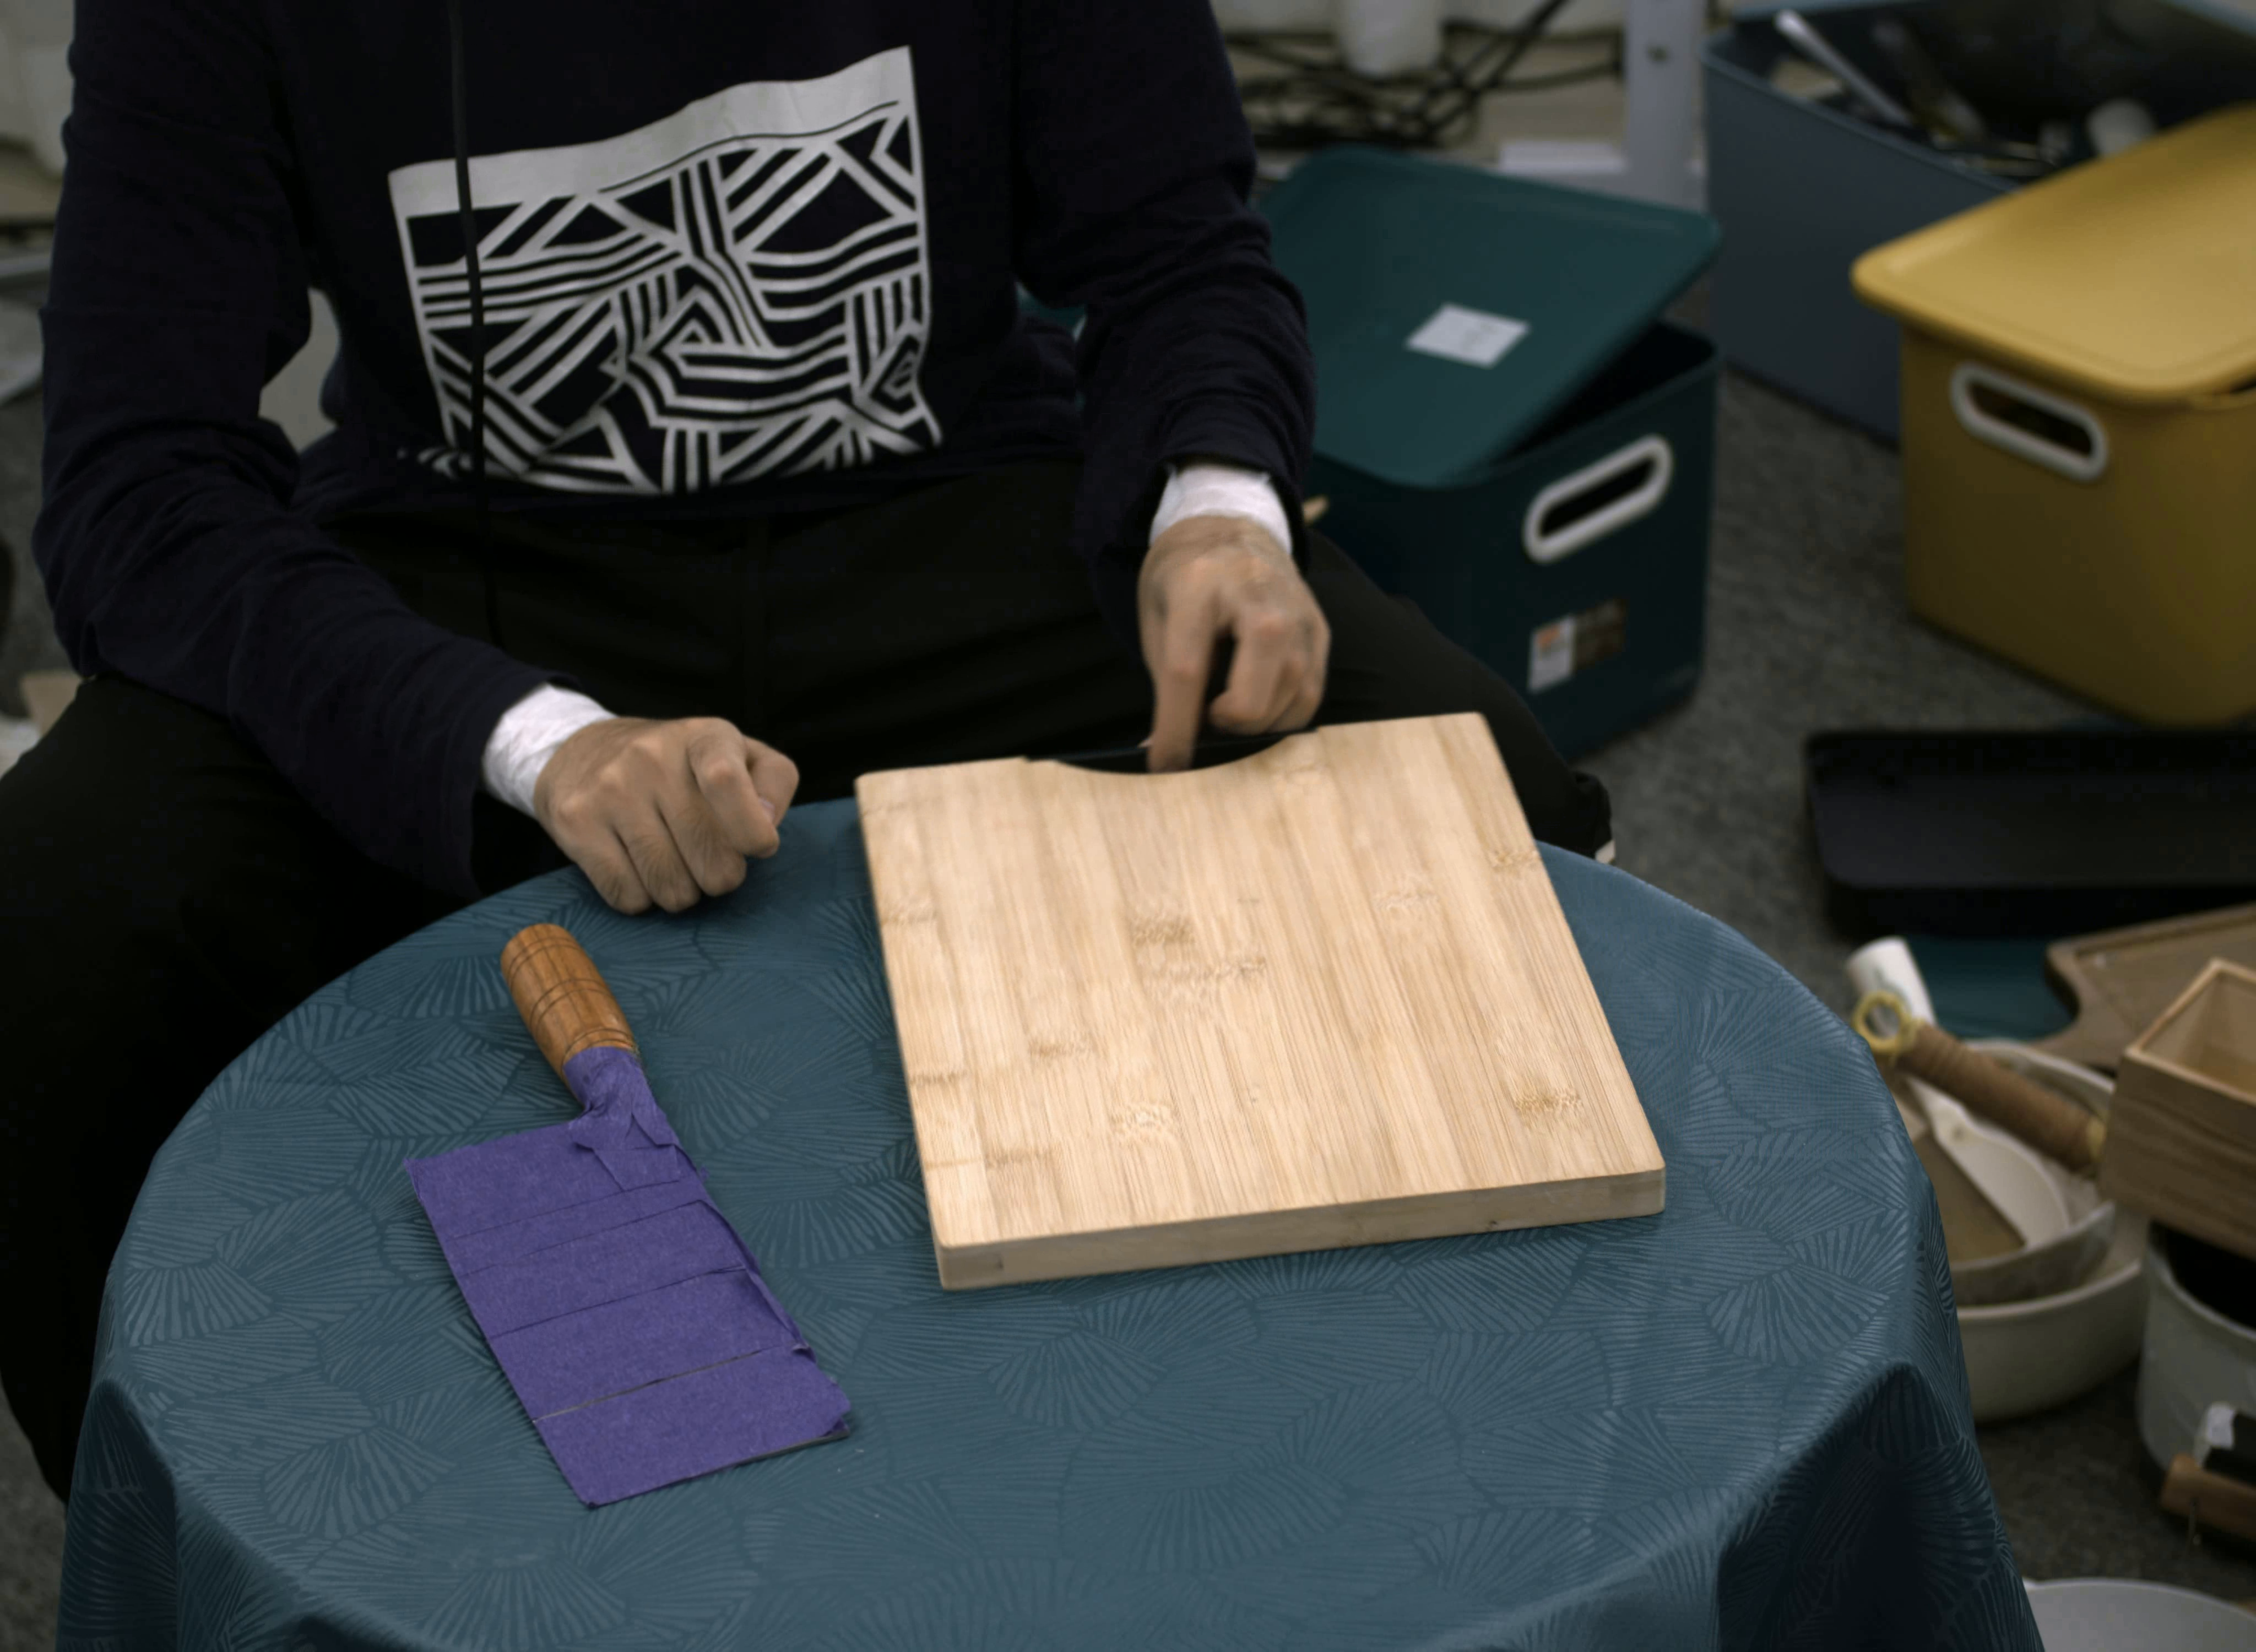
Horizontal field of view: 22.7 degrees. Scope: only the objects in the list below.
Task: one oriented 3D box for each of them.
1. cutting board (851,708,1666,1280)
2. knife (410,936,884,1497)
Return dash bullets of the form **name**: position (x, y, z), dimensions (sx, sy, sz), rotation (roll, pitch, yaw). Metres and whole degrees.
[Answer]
- **cutting board**: position (0.036, 0.053, 1.973), dimensions (0.250, 0.023, 0.353), rotation (-6, 27, -6)
- **knife**: position (-0.181, 0.124, 1.846), dimensions (0.104, 0.032, 0.317), rotation (-13, 29, -19)
